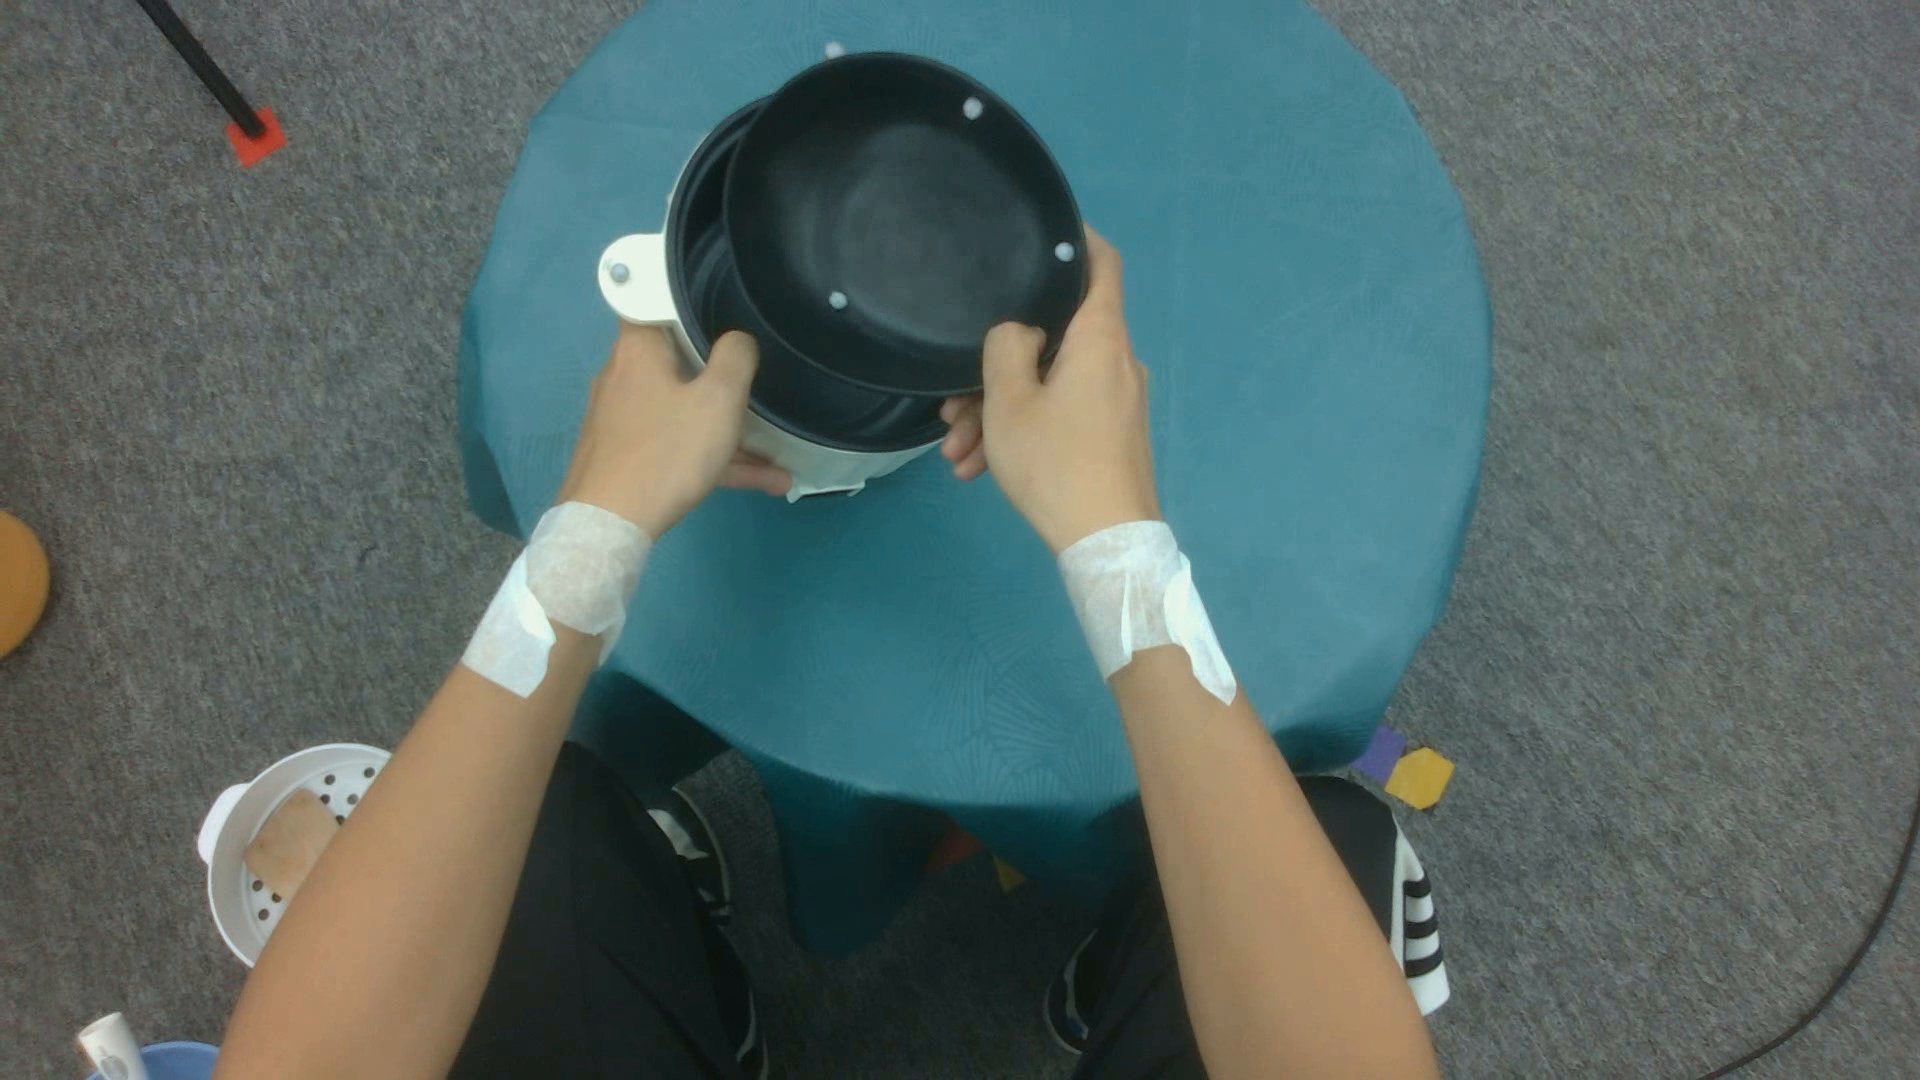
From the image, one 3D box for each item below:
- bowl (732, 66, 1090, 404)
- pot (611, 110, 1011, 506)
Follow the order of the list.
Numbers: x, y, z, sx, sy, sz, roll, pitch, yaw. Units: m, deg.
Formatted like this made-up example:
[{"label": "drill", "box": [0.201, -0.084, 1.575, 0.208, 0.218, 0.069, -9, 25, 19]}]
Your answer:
[{"label": "bowl", "box": [-0.016, -0.133, 0.620, 0.170, 0.067, 0.137, 27, 102, 12]}, {"label": "pot", "box": [-0.071, -0.121, 0.728, 0.241, 0.142, 0.190, -9, 86, -23]}]
